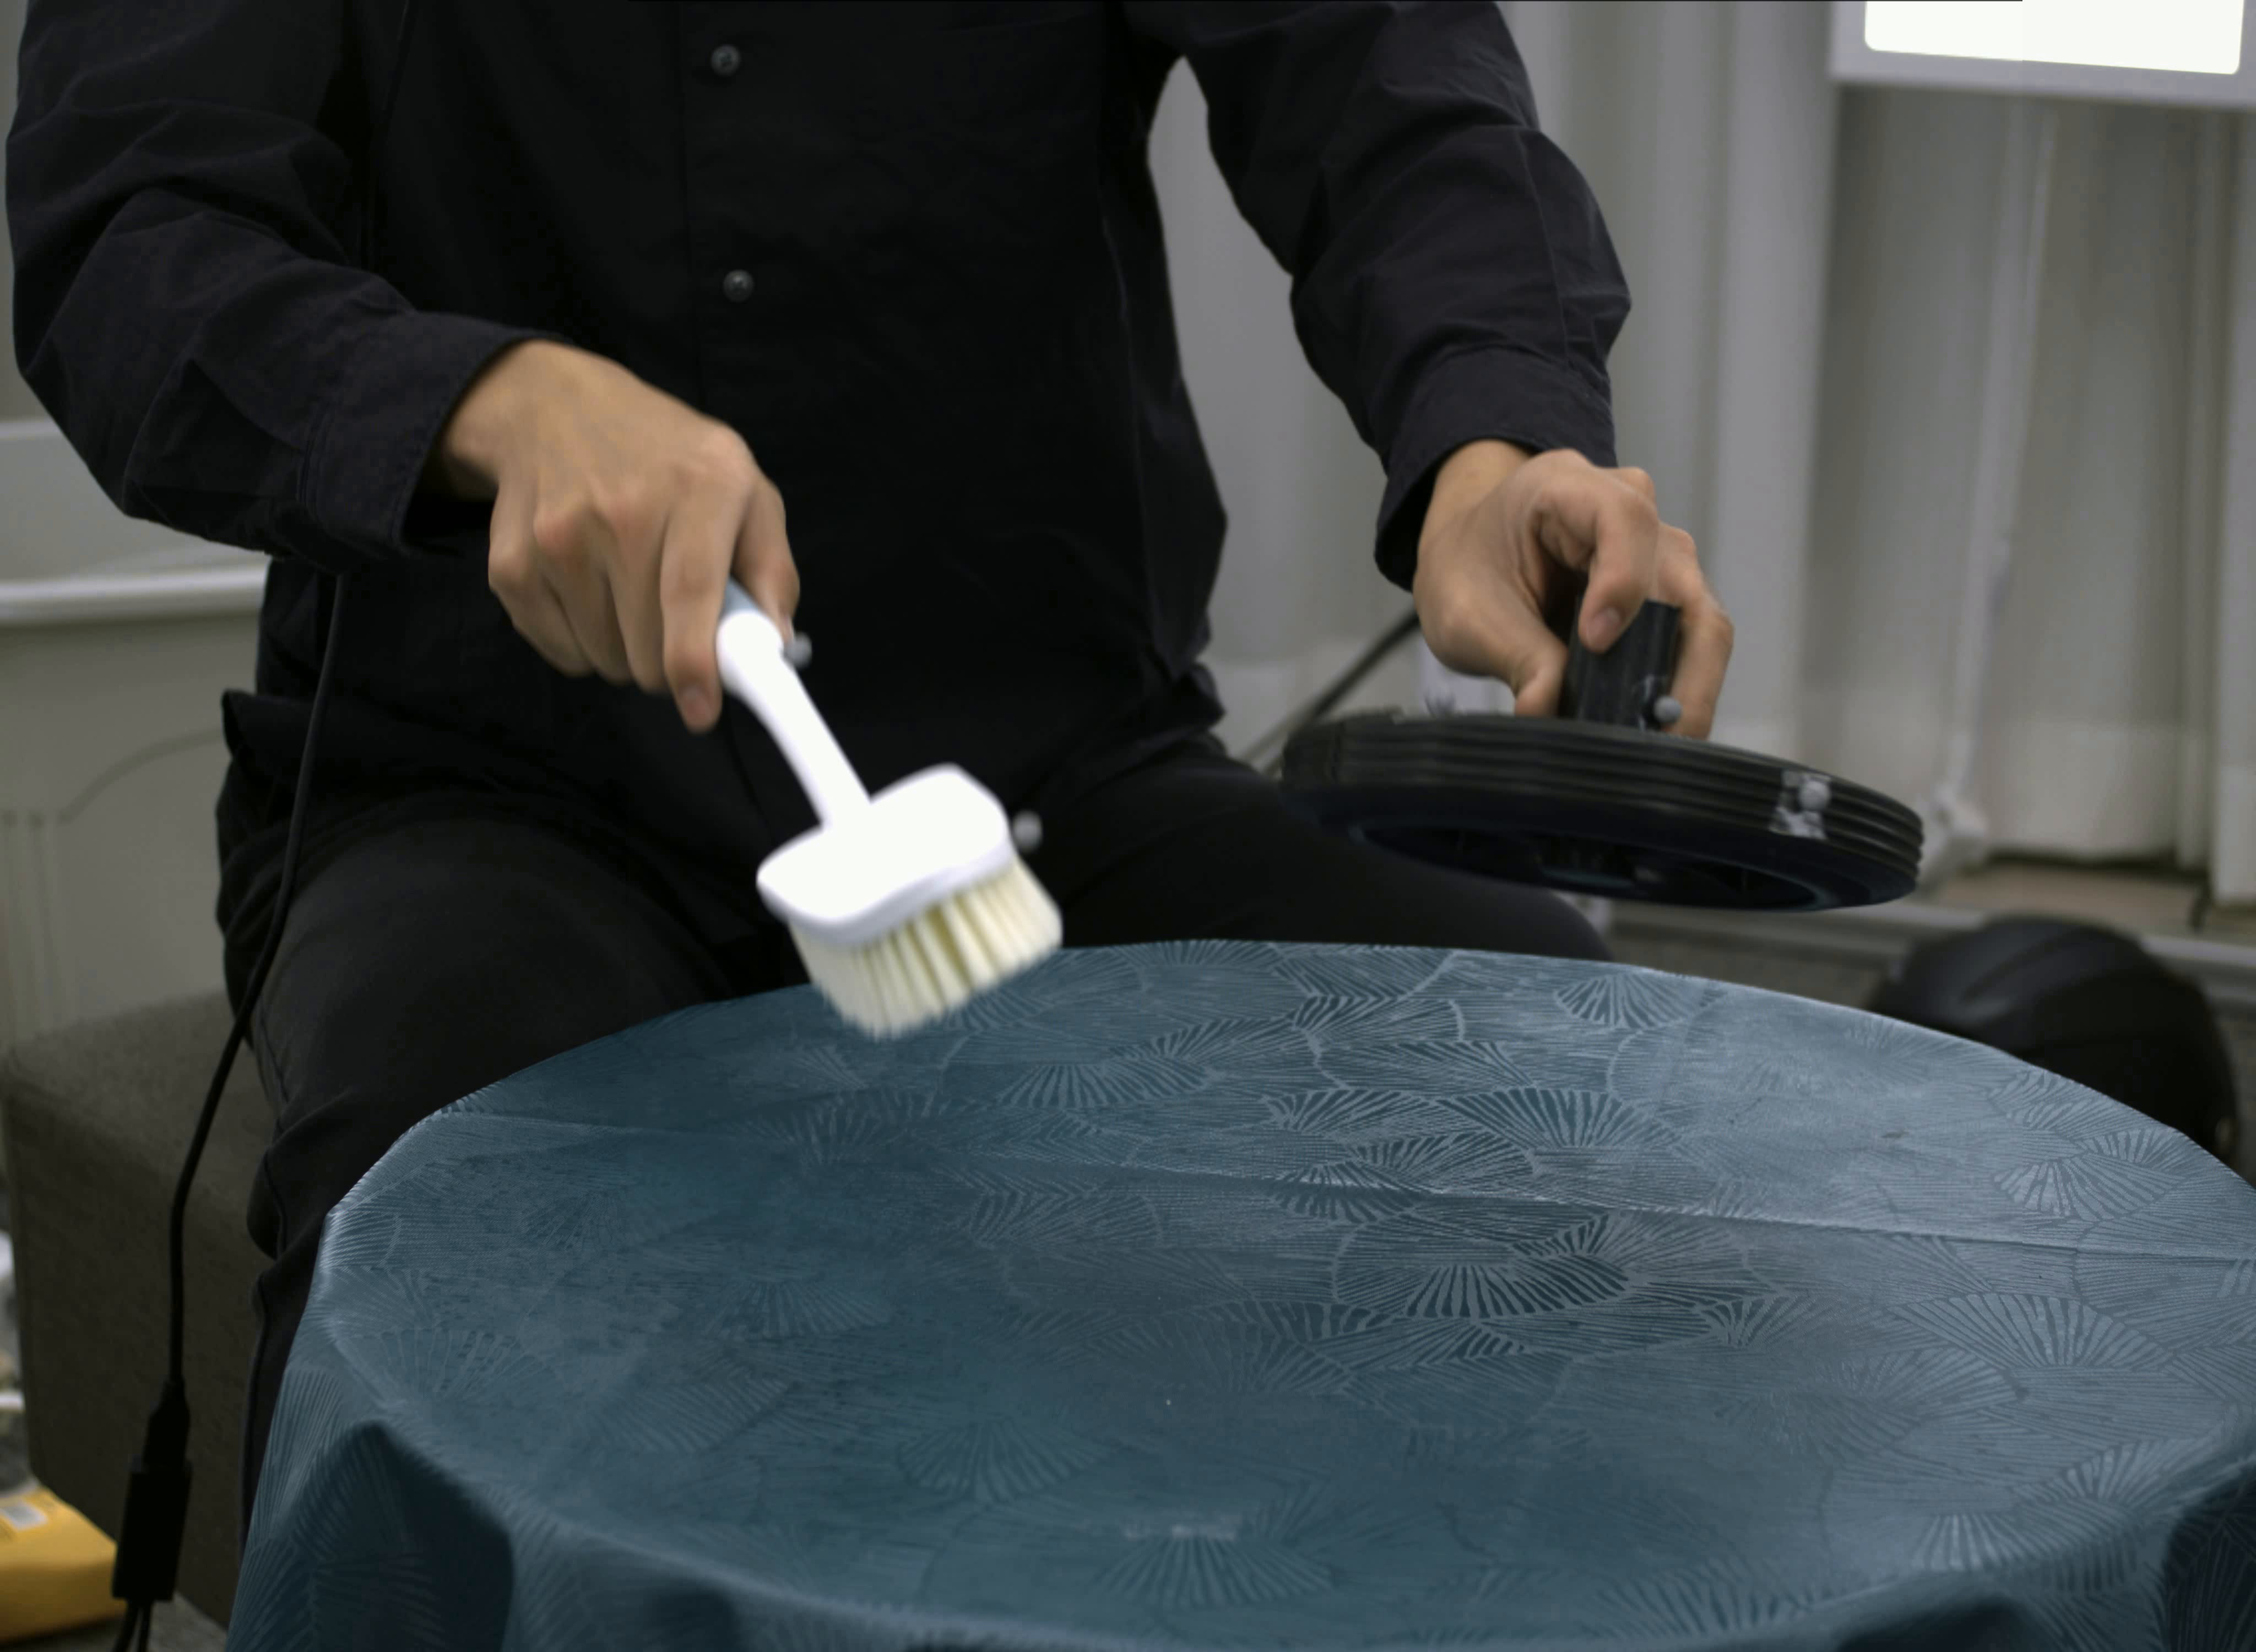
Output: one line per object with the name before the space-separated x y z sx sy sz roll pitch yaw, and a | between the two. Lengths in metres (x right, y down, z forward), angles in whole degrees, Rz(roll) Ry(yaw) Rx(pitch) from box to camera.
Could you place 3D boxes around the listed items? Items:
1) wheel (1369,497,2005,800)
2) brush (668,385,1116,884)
wheel | 0.169 -0.056 1.573 0.188 0.079 0.189 4 -8 27
brush | -0.071 -0.052 1.597 0.083 0.085 0.321 7 18 -23
